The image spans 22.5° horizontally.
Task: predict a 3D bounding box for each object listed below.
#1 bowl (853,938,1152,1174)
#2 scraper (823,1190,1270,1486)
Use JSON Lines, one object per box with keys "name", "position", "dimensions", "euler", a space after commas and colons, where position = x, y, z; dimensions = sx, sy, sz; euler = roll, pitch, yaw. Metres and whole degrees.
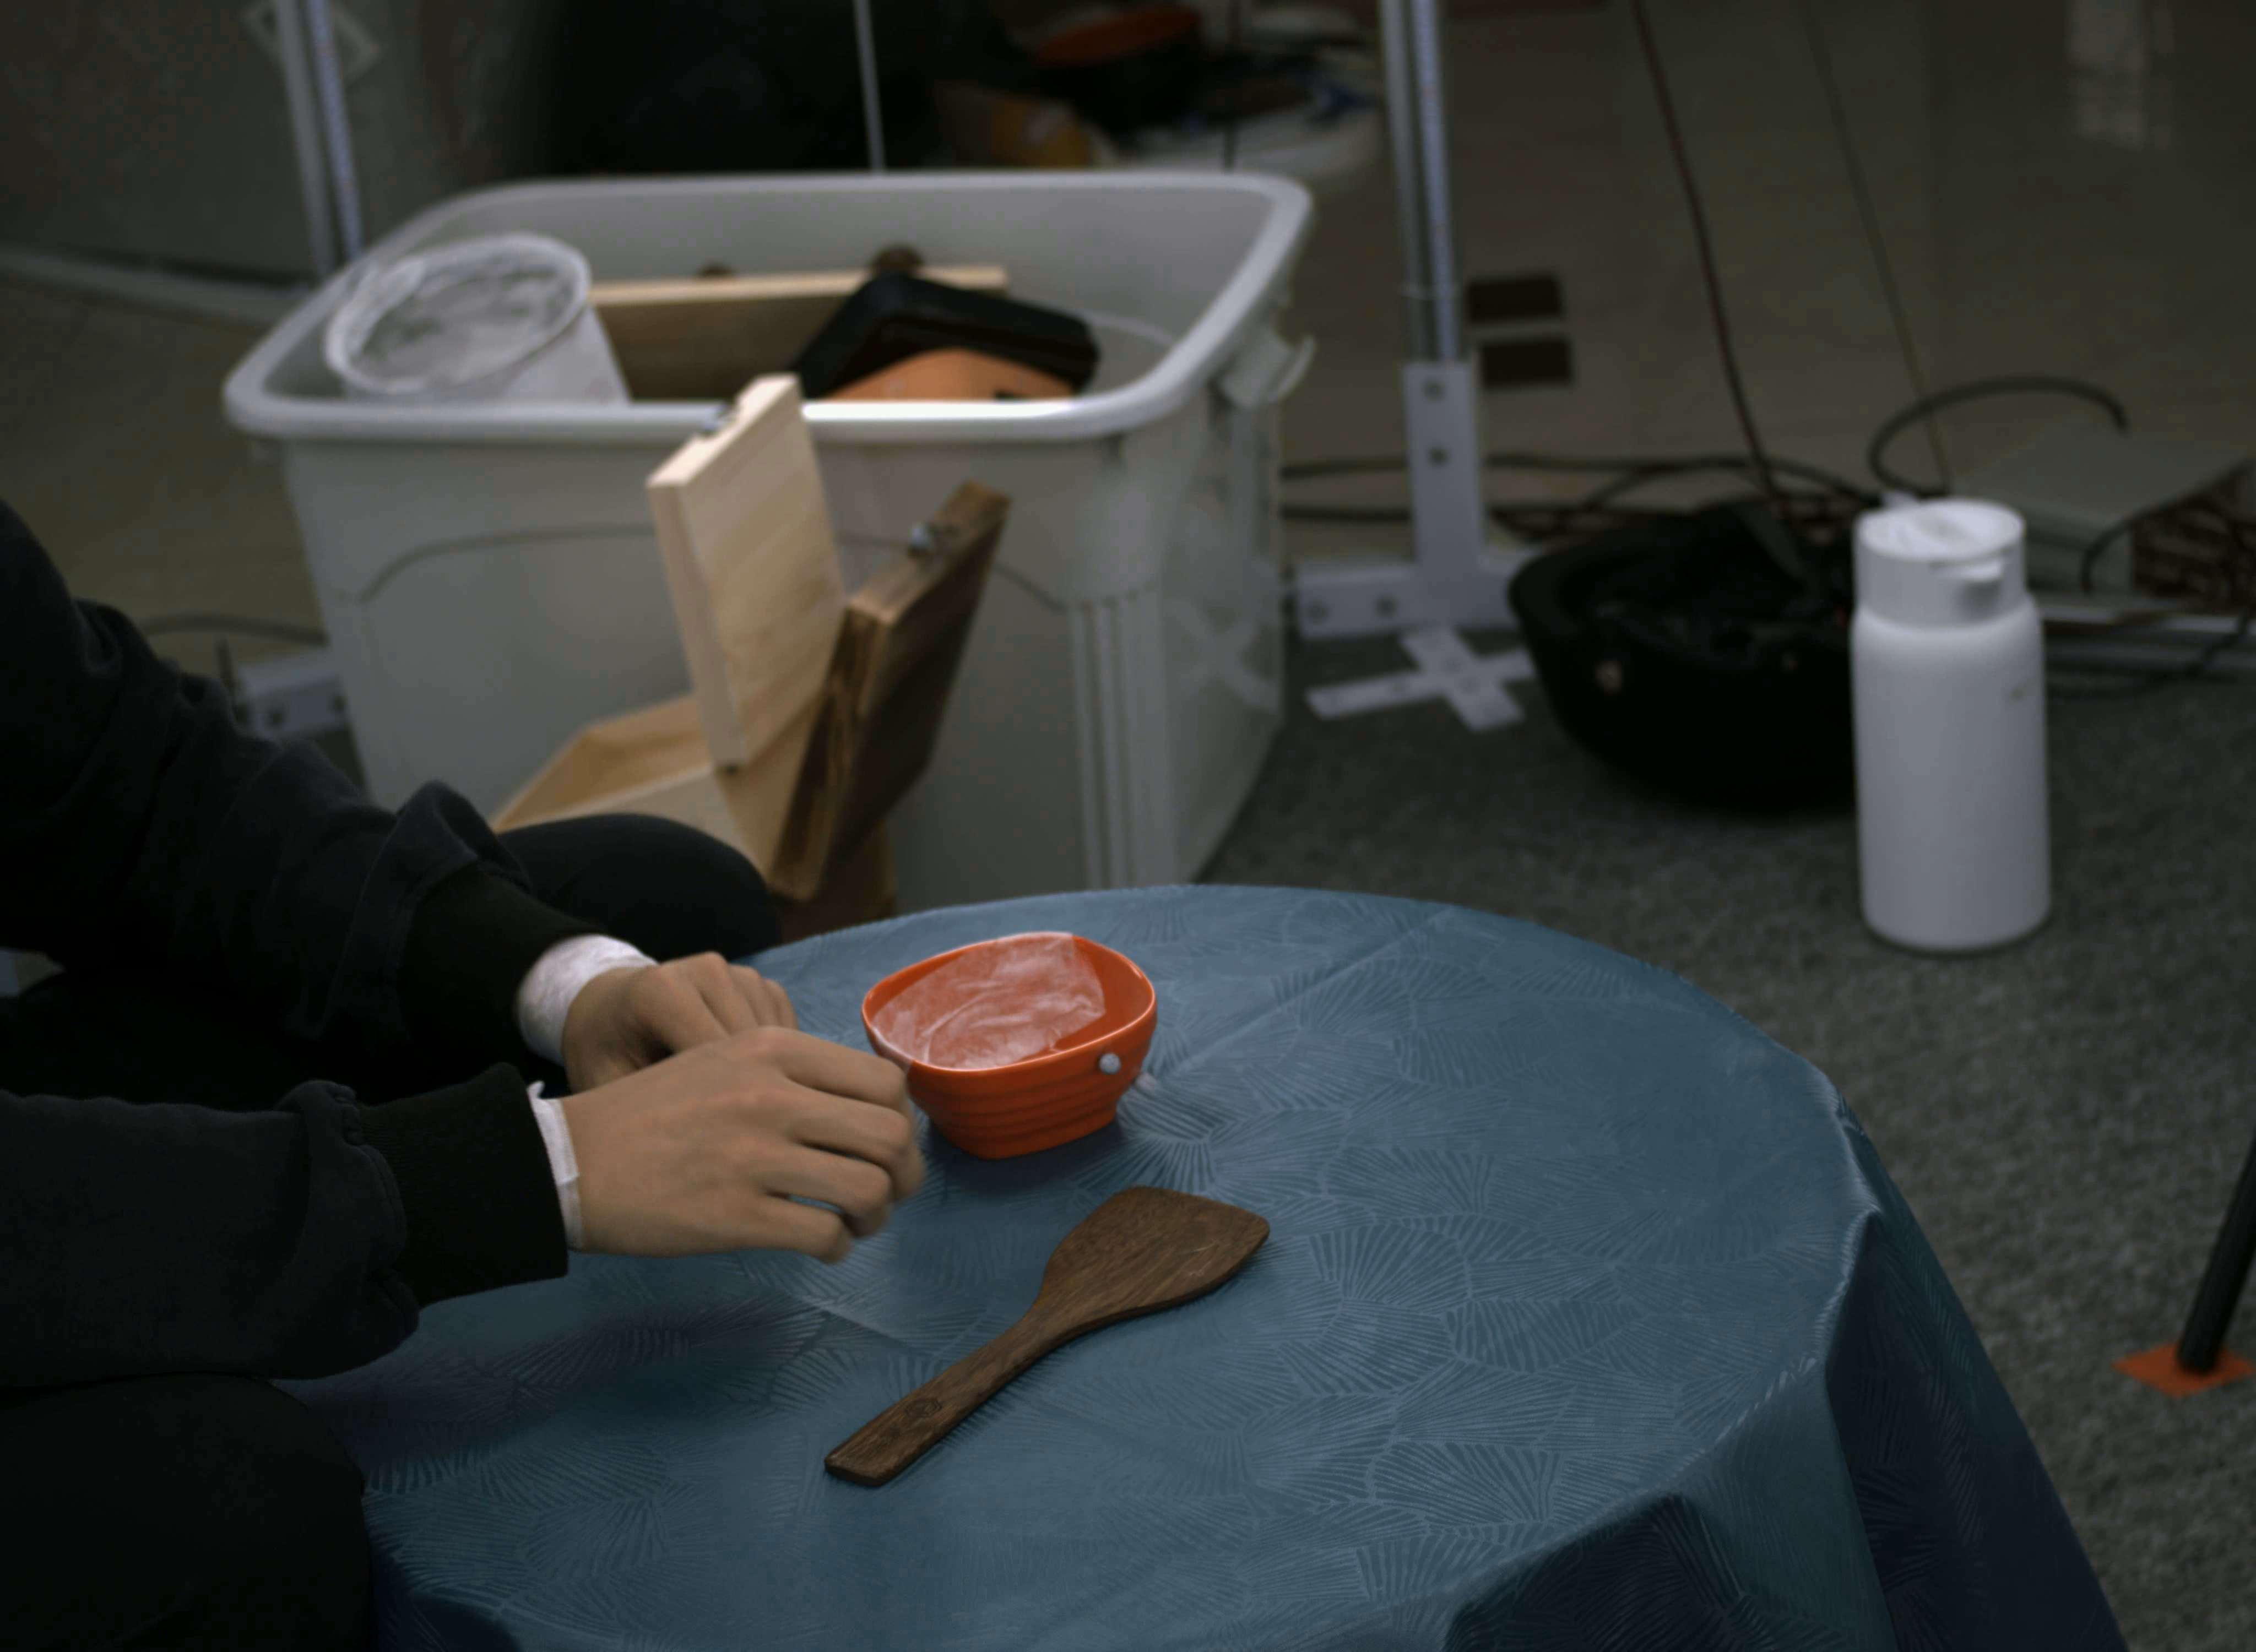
{"name": "bowl", "position": [-0.047, 0.095, 2.208], "dimensions": [0.119, 0.052, 0.117], "euler": [-5, 29, 3]}
{"name": "scraper", "position": [-0.035, 0.186, 2.052], "dimensions": [0.075, 0.011, 0.209], "euler": [13, 32, 37]}
